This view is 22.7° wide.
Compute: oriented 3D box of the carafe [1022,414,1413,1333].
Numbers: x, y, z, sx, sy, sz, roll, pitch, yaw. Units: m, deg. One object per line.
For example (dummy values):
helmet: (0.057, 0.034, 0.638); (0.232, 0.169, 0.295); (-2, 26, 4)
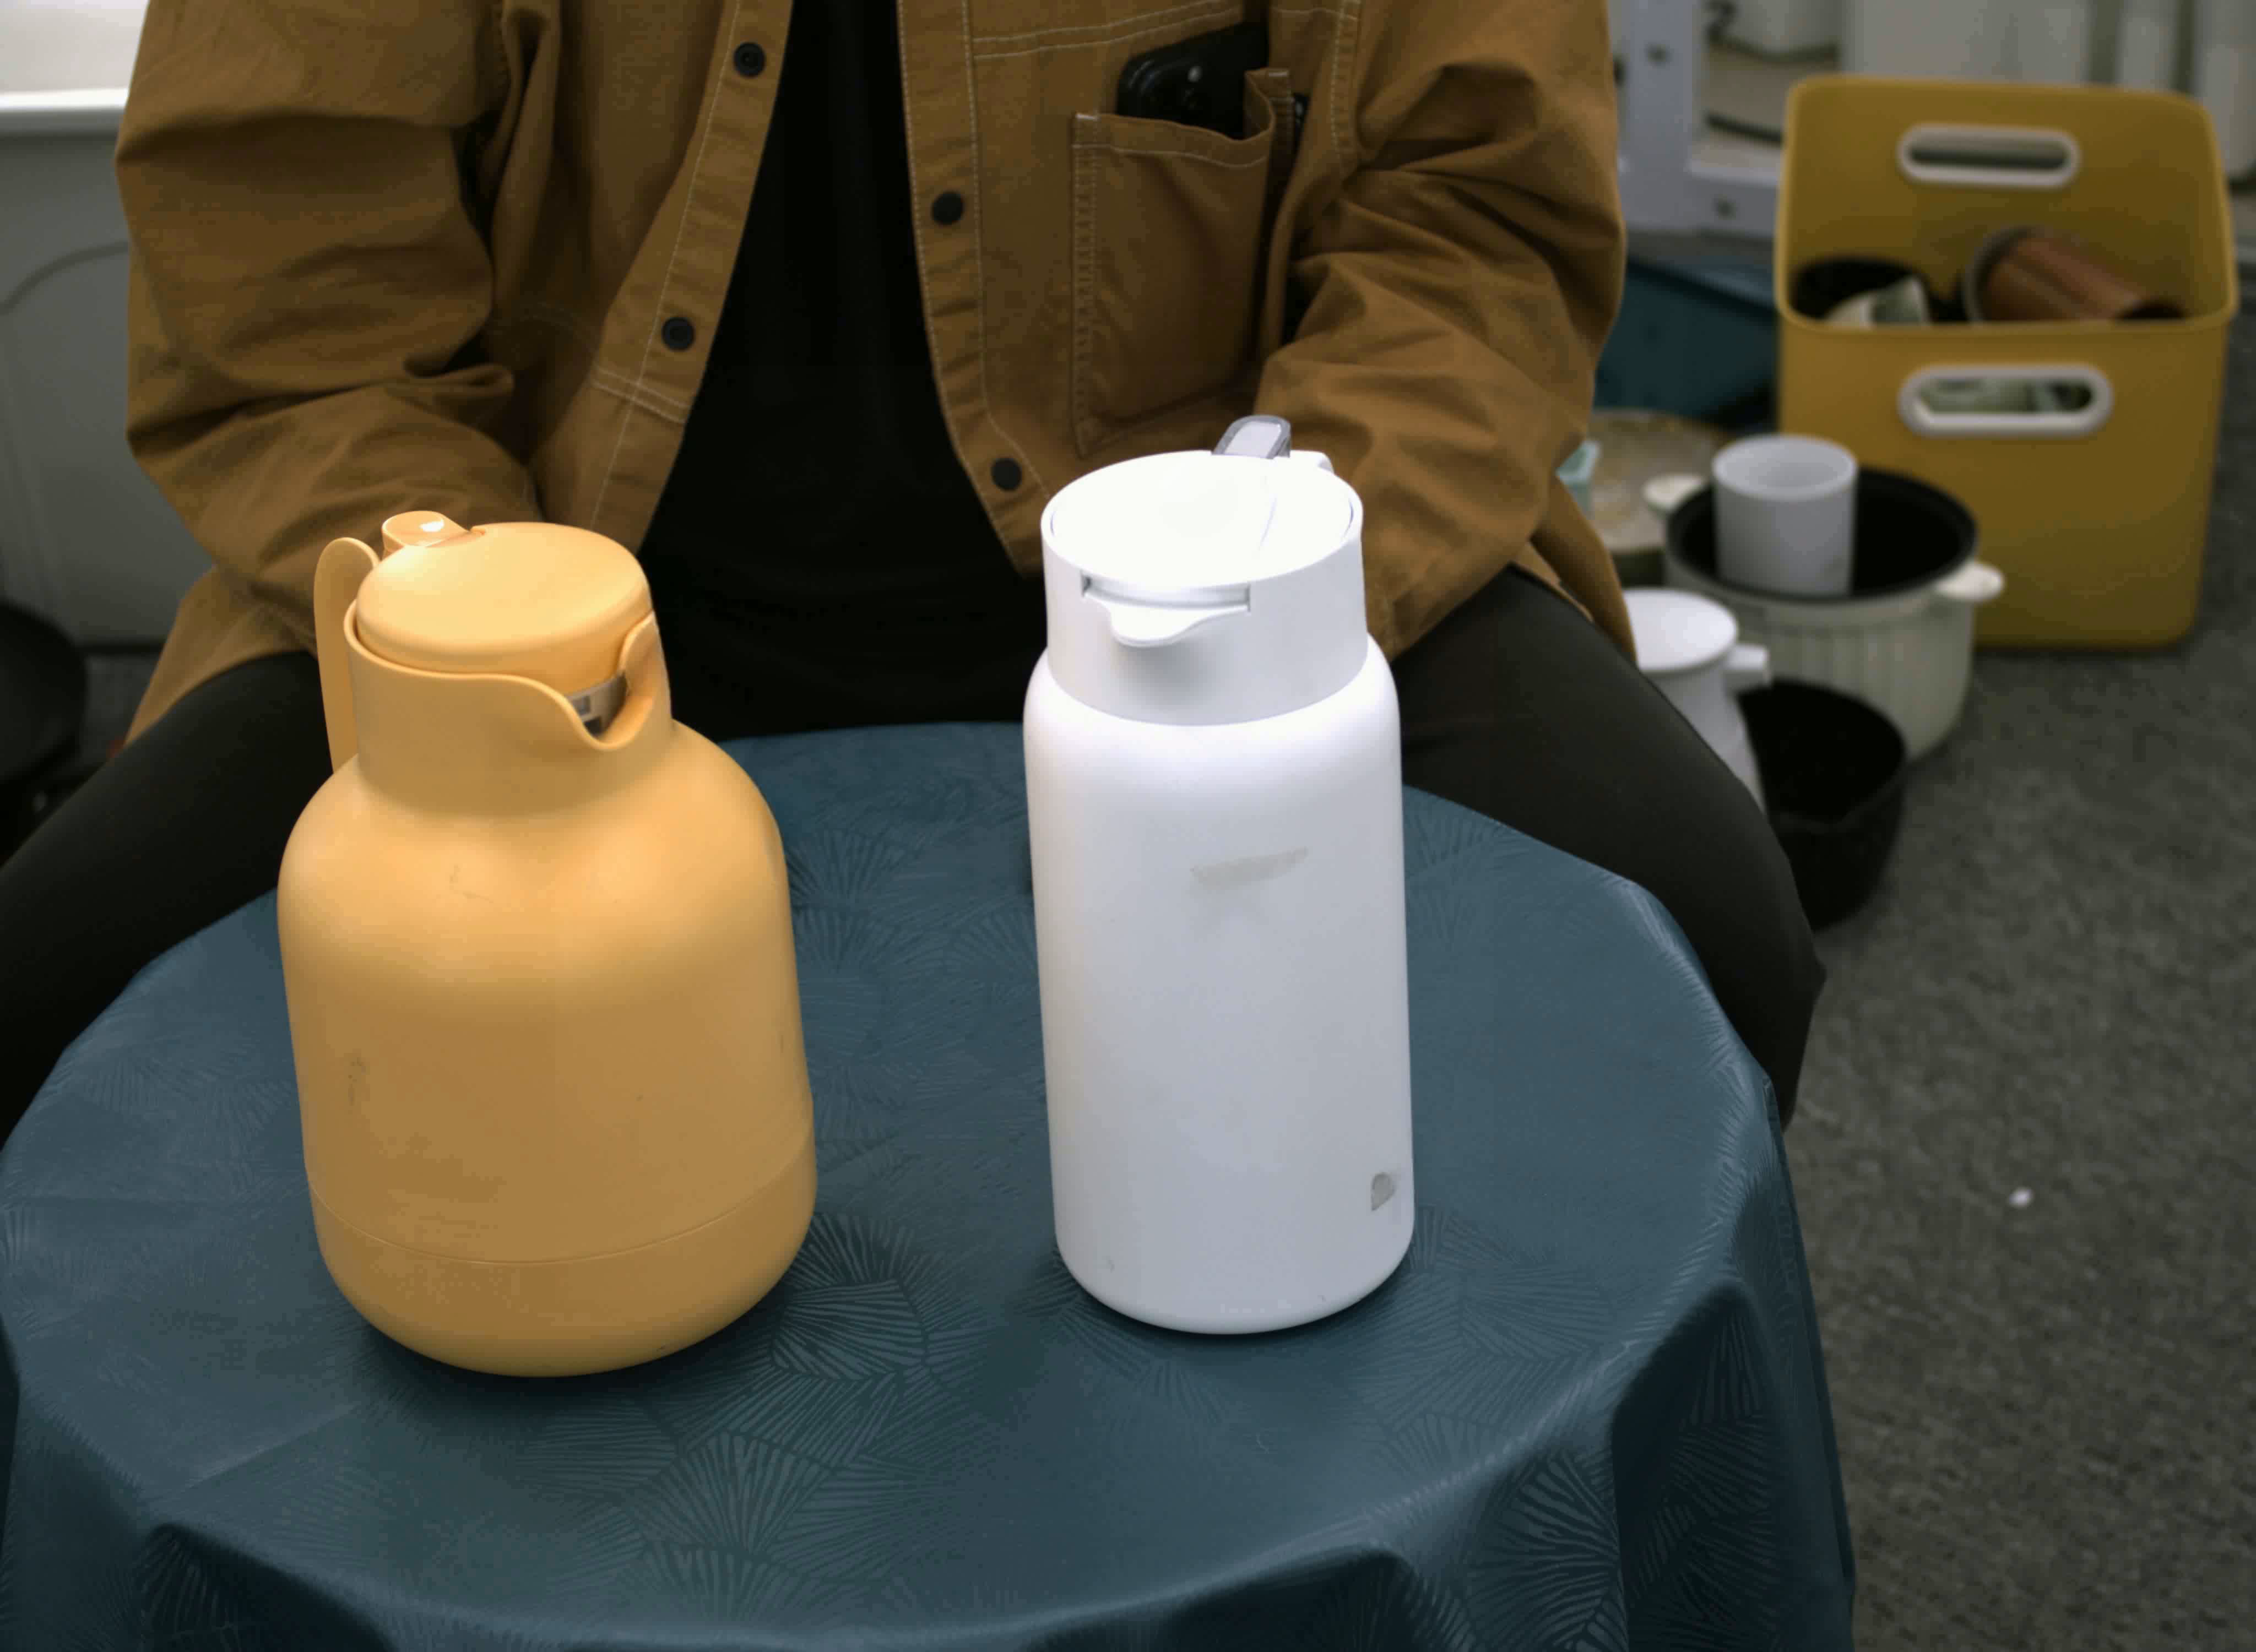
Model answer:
carafe: (0.032, 0.011, 1.782); (0.123, 0.266, 0.176); (3, 27, 16)

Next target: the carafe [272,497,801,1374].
carafe: (-0.196, 0.025, 1.784); (0.164, 0.257, 0.203); (-14, 30, -27)
